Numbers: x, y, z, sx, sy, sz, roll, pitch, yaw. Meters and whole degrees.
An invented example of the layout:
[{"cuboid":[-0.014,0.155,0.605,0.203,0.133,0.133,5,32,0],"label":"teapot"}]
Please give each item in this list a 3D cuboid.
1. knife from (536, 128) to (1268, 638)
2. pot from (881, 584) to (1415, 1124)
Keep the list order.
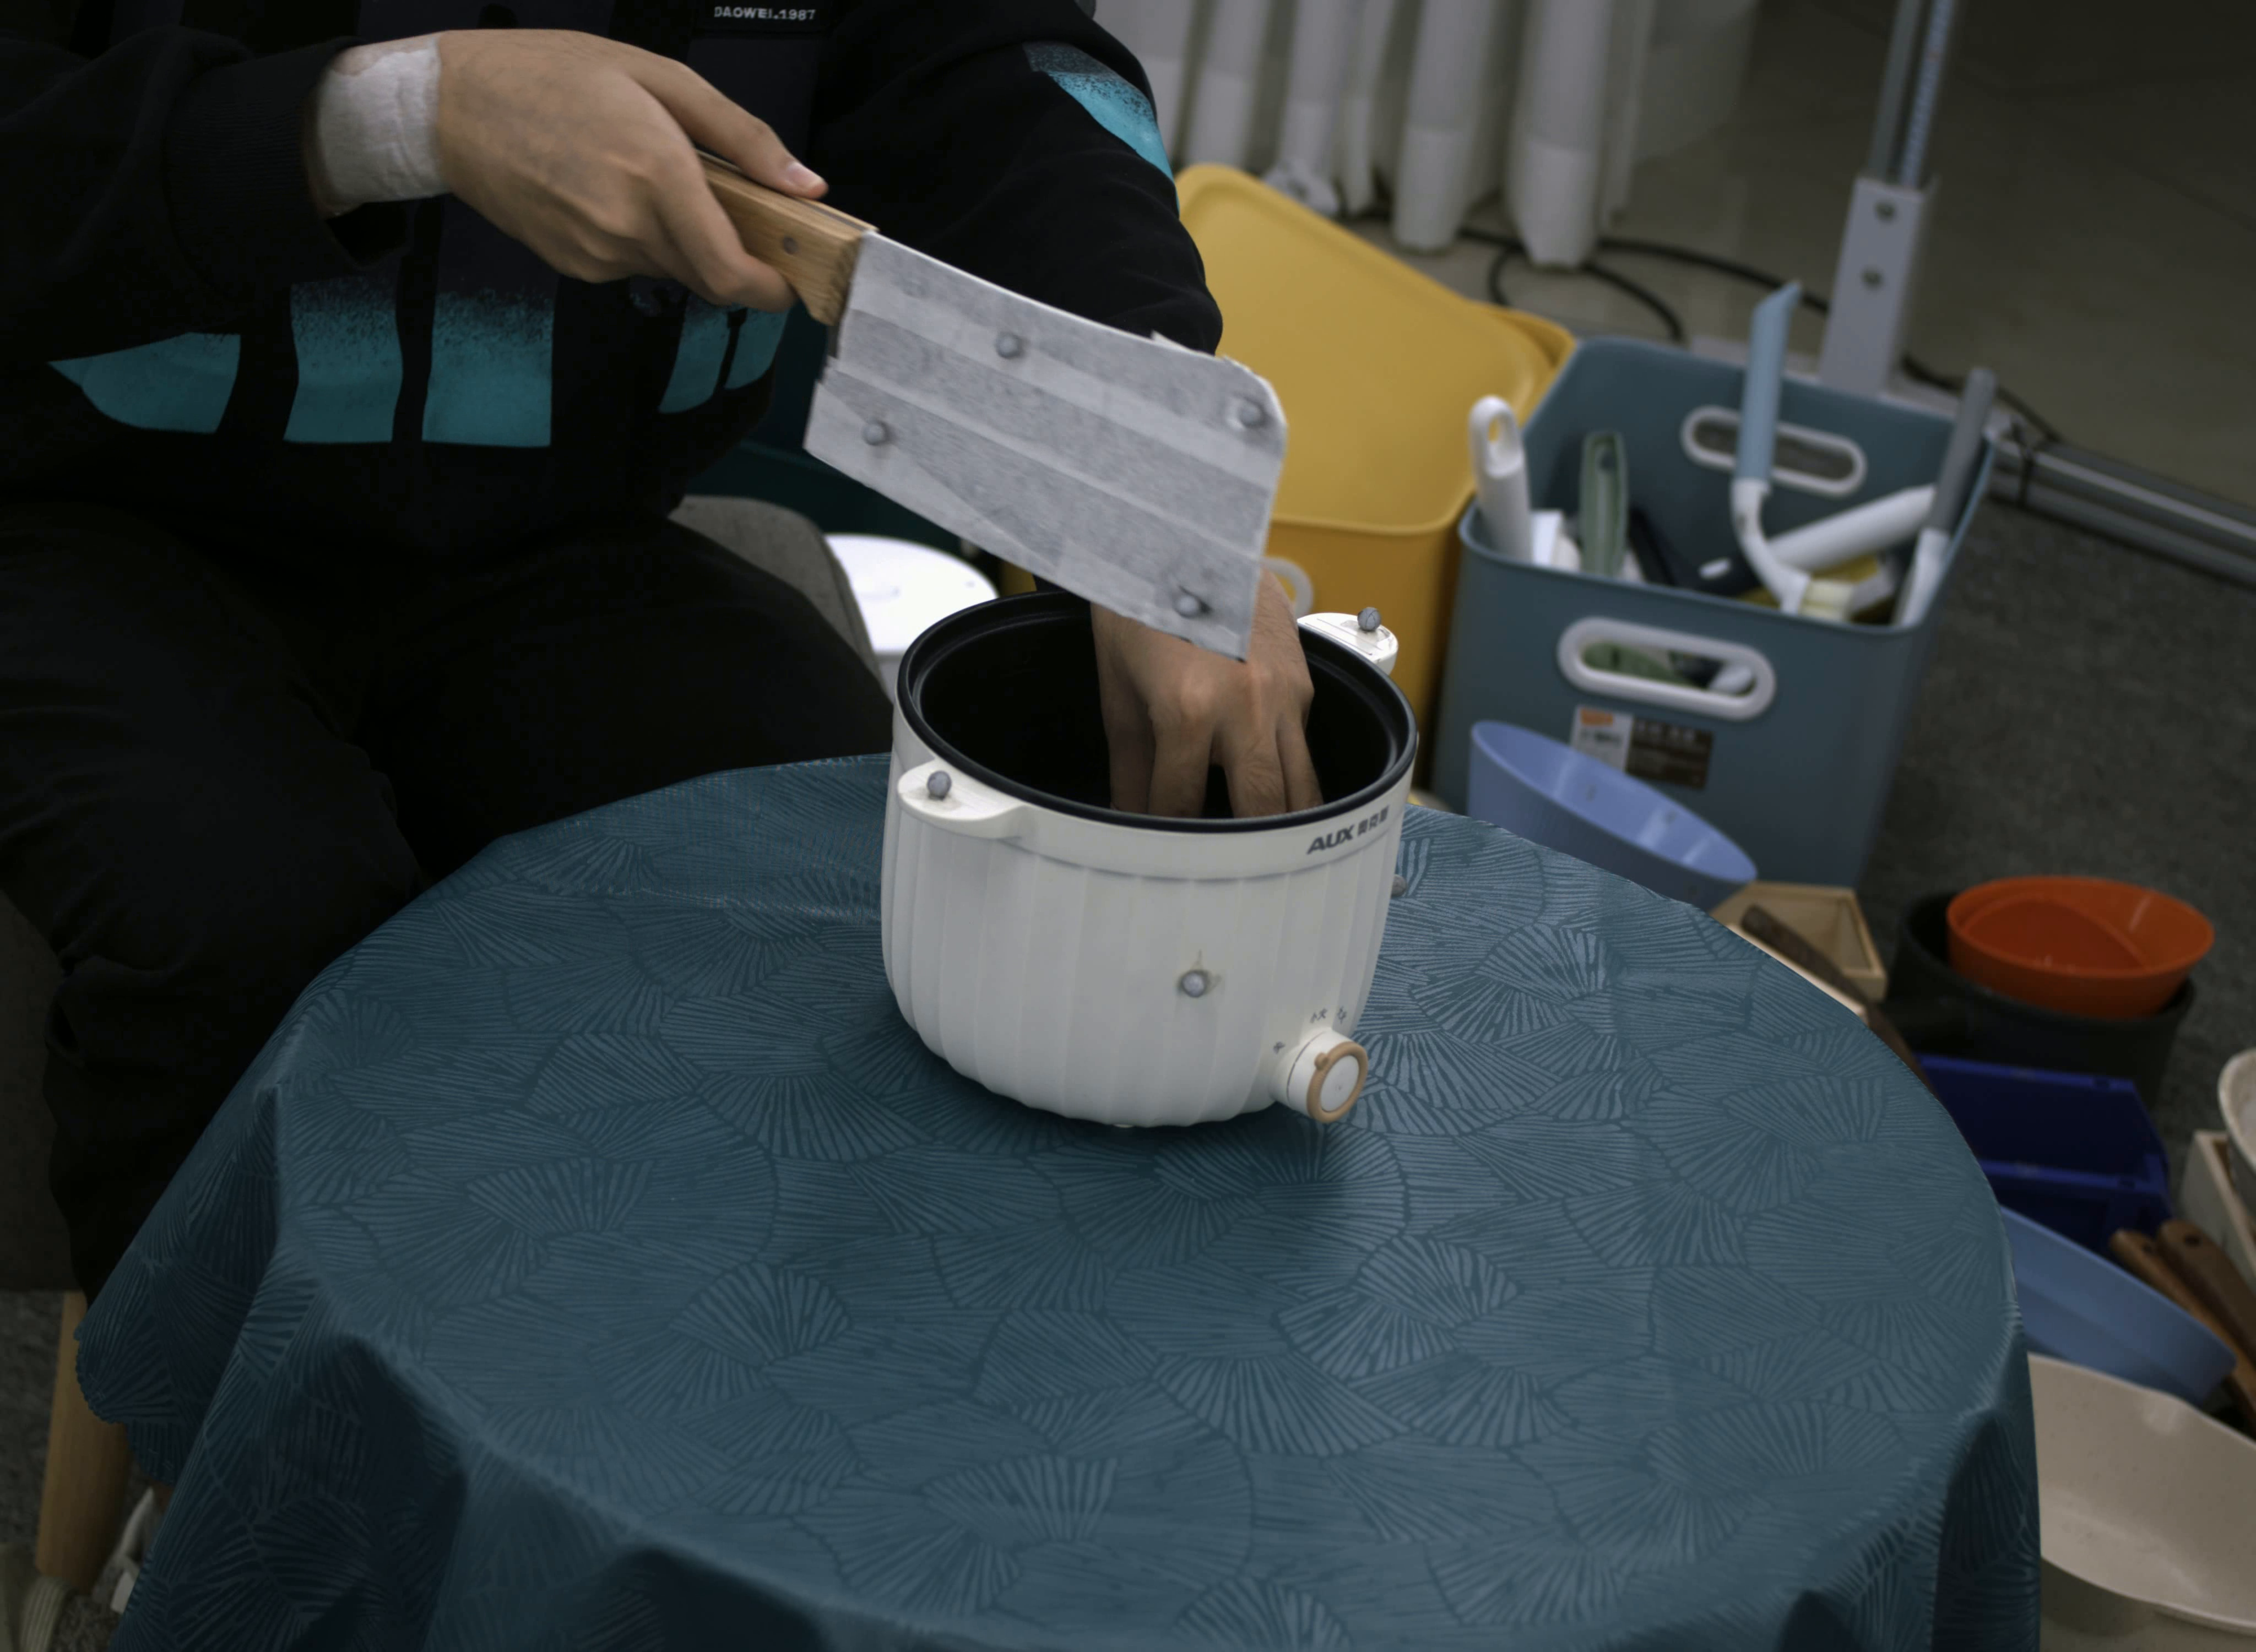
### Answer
[{"cuboid":[-0.079,-0.165,1.816,0.317,0.113,0.021,29,28,24],"label":"knife"},{"cuboid":[0.008,0.016,1.862,0.192,0.142,0.239,24,32,36],"label":"pot"}]
